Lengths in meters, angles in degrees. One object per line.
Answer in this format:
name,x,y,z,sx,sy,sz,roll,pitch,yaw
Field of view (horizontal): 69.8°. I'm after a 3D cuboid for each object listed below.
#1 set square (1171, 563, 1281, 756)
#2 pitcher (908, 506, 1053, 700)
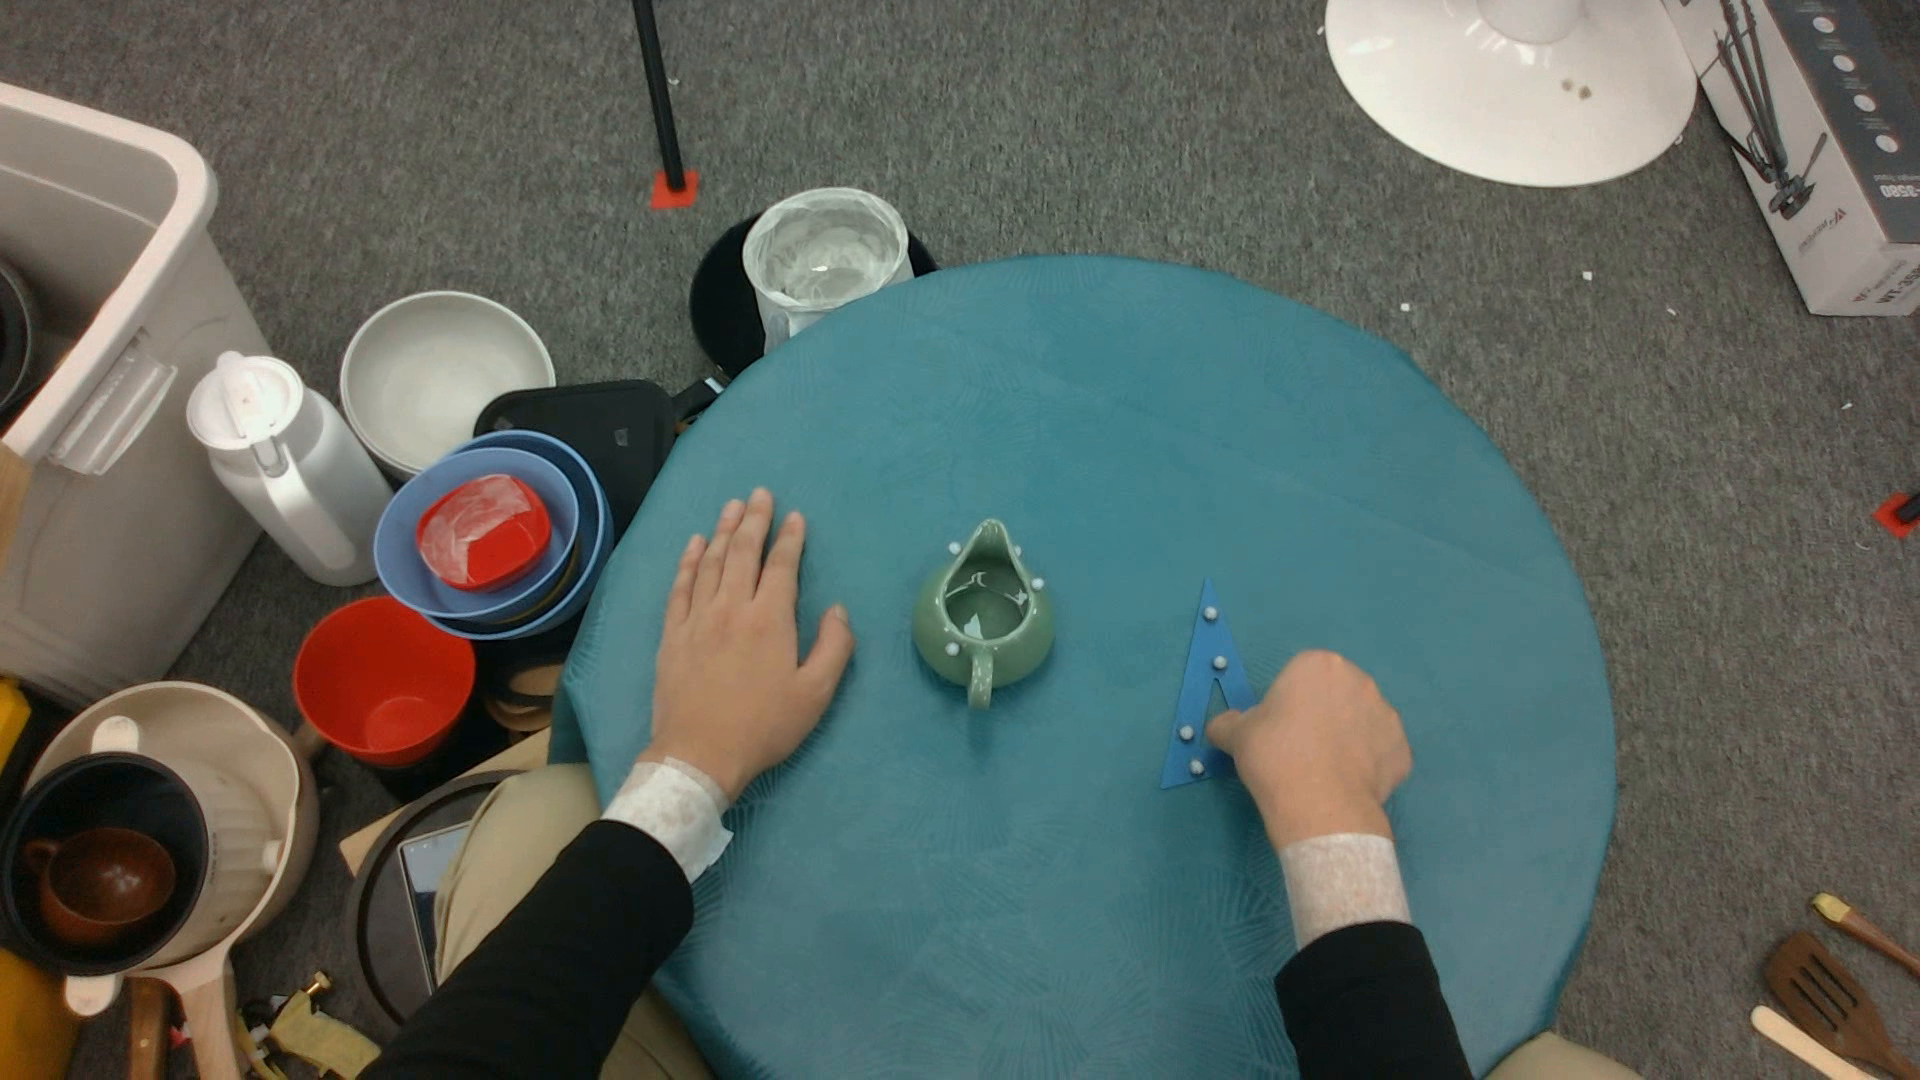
set square,0.167,0.075,0.807,0.061,0.006,0.132,17,63,8
pitcher,0.012,0.042,0.787,0.084,0.056,0.113,2,63,1
